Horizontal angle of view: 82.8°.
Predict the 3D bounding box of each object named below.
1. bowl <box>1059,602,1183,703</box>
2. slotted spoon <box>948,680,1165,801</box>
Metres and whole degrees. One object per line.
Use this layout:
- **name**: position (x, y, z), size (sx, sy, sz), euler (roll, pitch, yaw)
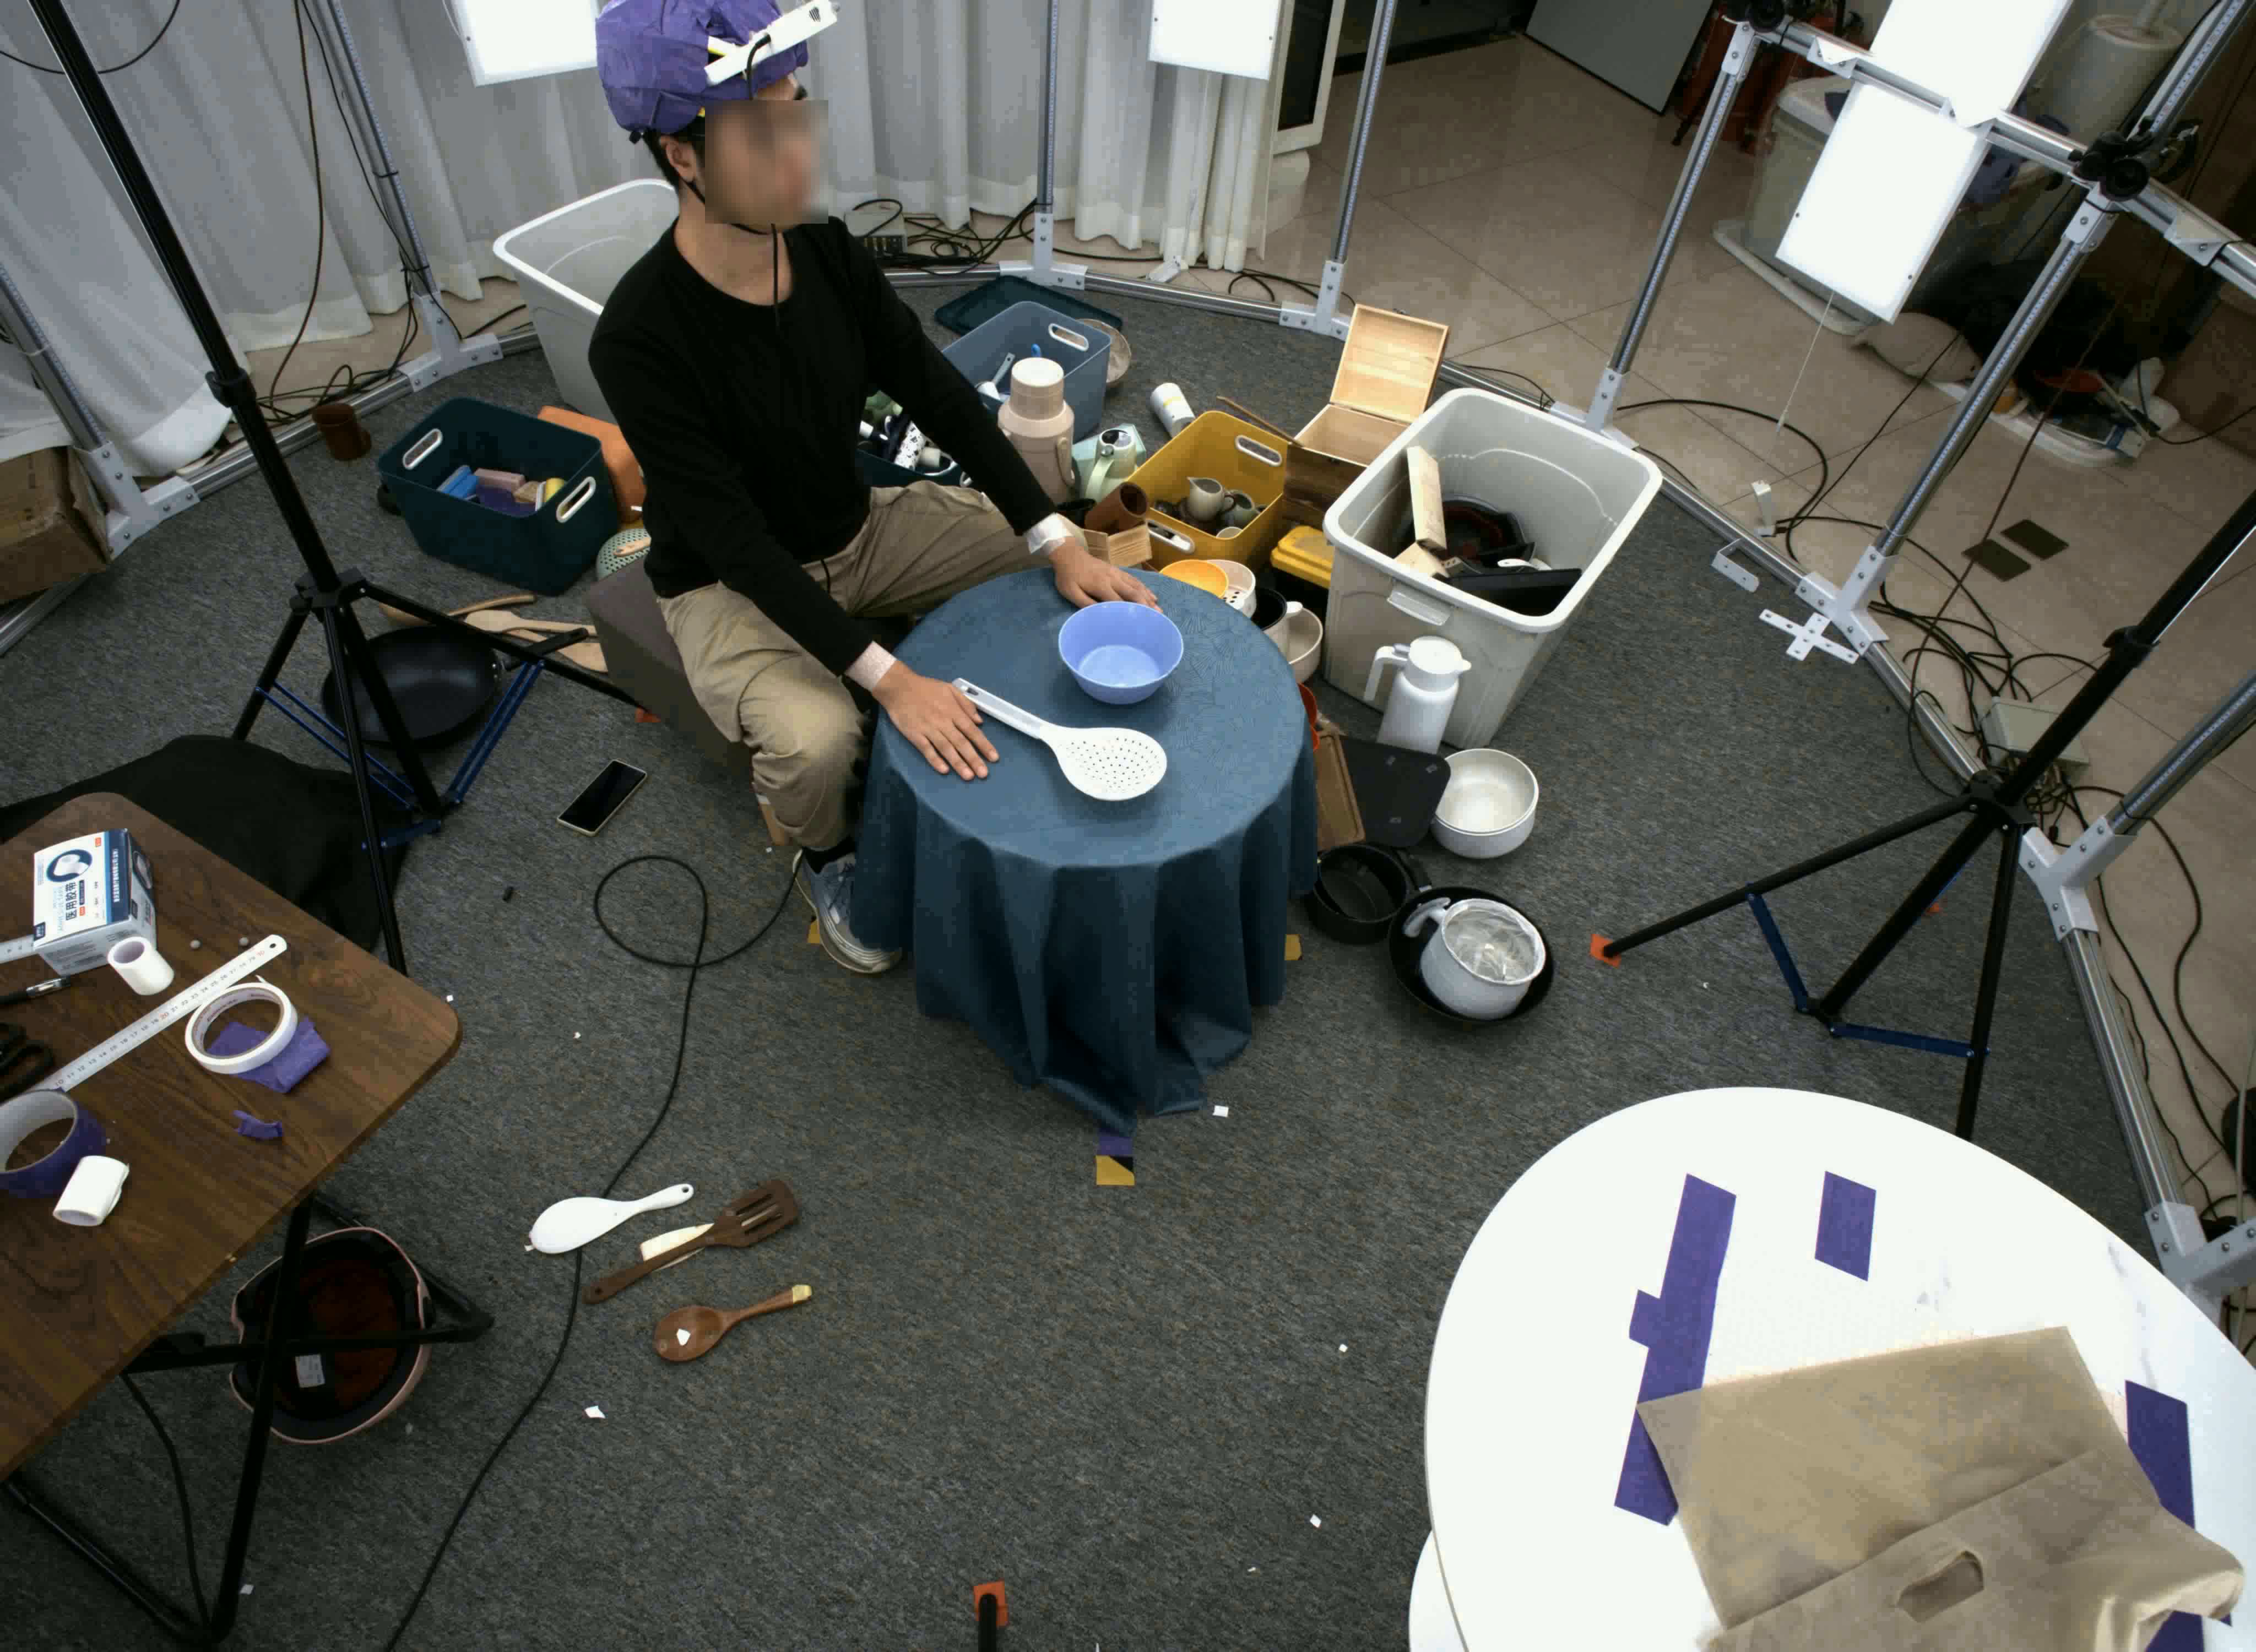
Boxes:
- **bowl**: position (-0.012, -0.238, 1.831), size (0.176, 0.068, 0.180), euler (2, 48, -2)
- **slotted spoon**: position (-0.106, -0.124, 1.741), size (0.353, 0.044, 0.138), euler (30, 53, 22)
